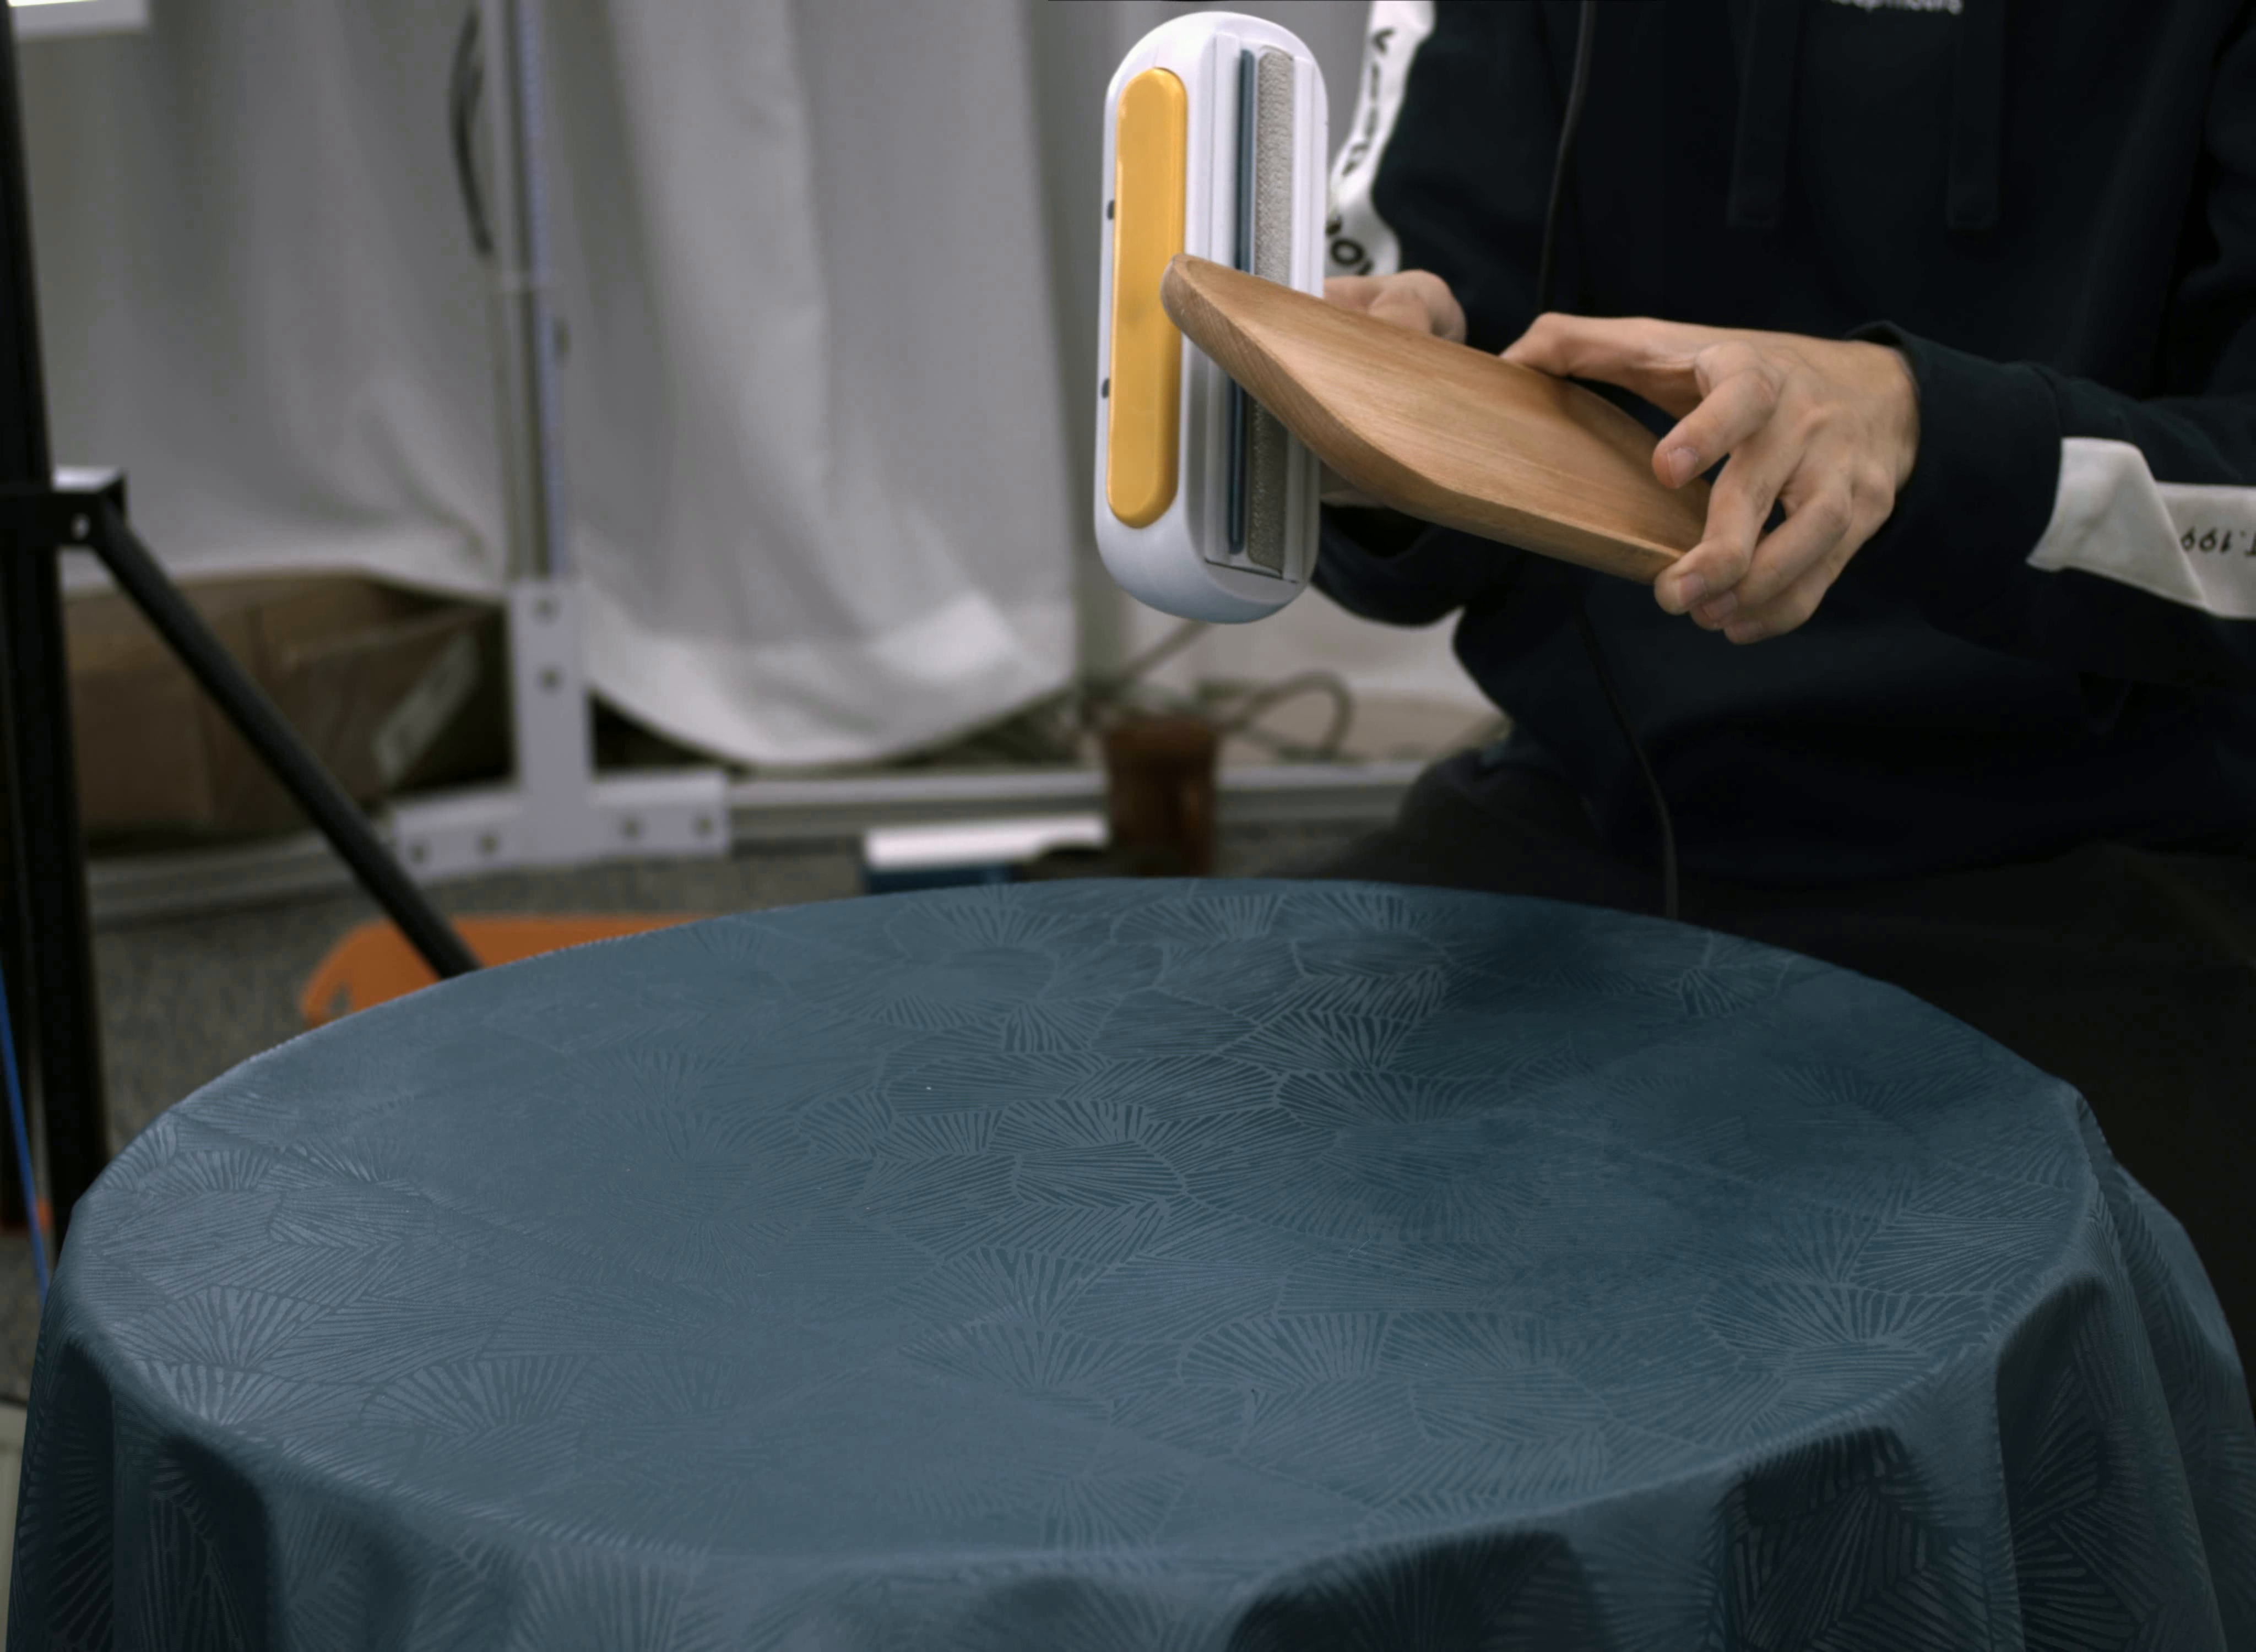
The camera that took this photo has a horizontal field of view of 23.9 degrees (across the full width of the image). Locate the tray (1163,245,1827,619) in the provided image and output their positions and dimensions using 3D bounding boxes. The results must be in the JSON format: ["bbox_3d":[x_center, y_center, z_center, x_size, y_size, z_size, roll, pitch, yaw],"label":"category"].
[{"bbox_3d":[0.115,-0.118,1.635,0.244,0.023,0.133,13,28,-49],"label":"tray"}]

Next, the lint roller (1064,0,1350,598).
[{"bbox_3d":[0.041,-0.150,1.723,0.075,0.194,0.188,-7,-19,27],"label":"lint roller"}]
